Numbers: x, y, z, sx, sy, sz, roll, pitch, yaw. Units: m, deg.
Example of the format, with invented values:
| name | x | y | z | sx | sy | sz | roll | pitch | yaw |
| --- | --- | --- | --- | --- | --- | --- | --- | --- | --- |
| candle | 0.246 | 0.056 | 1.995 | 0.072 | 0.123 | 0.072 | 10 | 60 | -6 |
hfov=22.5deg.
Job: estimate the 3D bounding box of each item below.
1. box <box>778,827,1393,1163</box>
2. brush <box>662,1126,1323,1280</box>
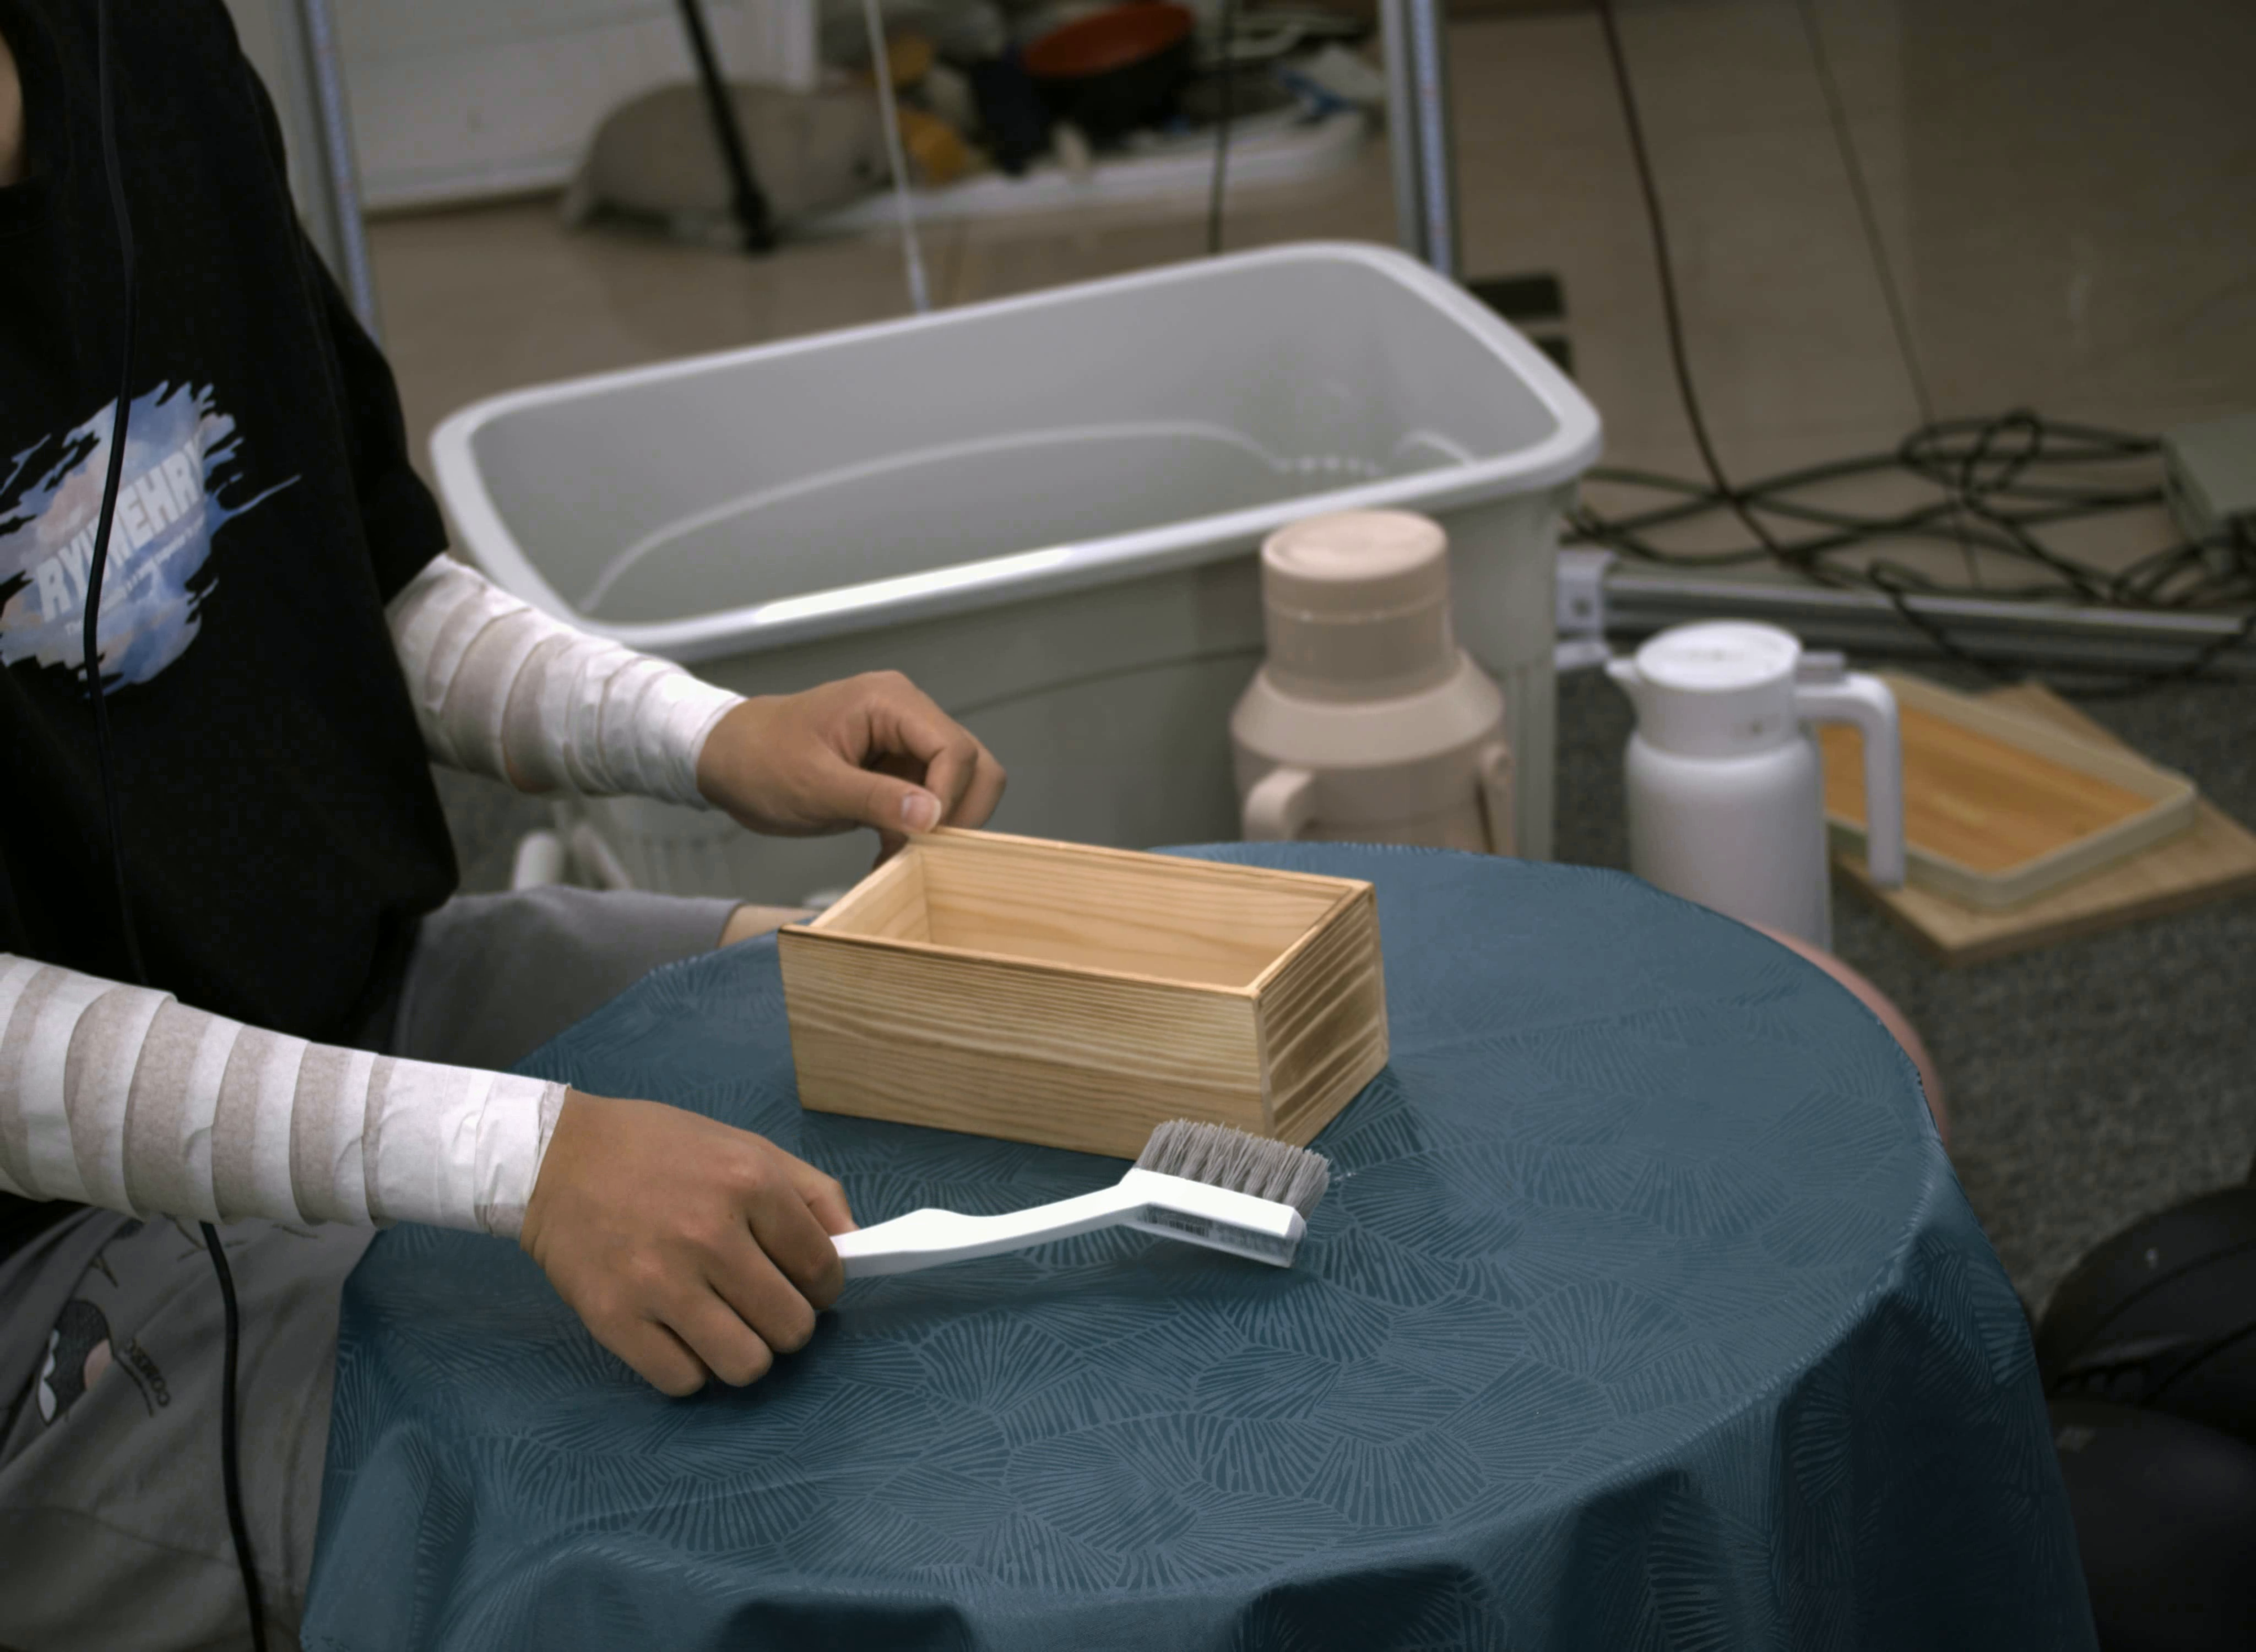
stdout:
| name | x | y | z | sx | sy | sz | roll | pitch | yaw |
| --- | --- | --- | --- | --- | --- | --- | --- | --- | --- |
| box | -0.016 | 0.067 | 2.212 | 0.210 | 0.081 | 0.106 | 6 | 28 | 28 |
| brush | -0.050 | 0.139 | 2.085 | 0.243 | 0.035 | 0.049 | -2 | 61 | 5 |
